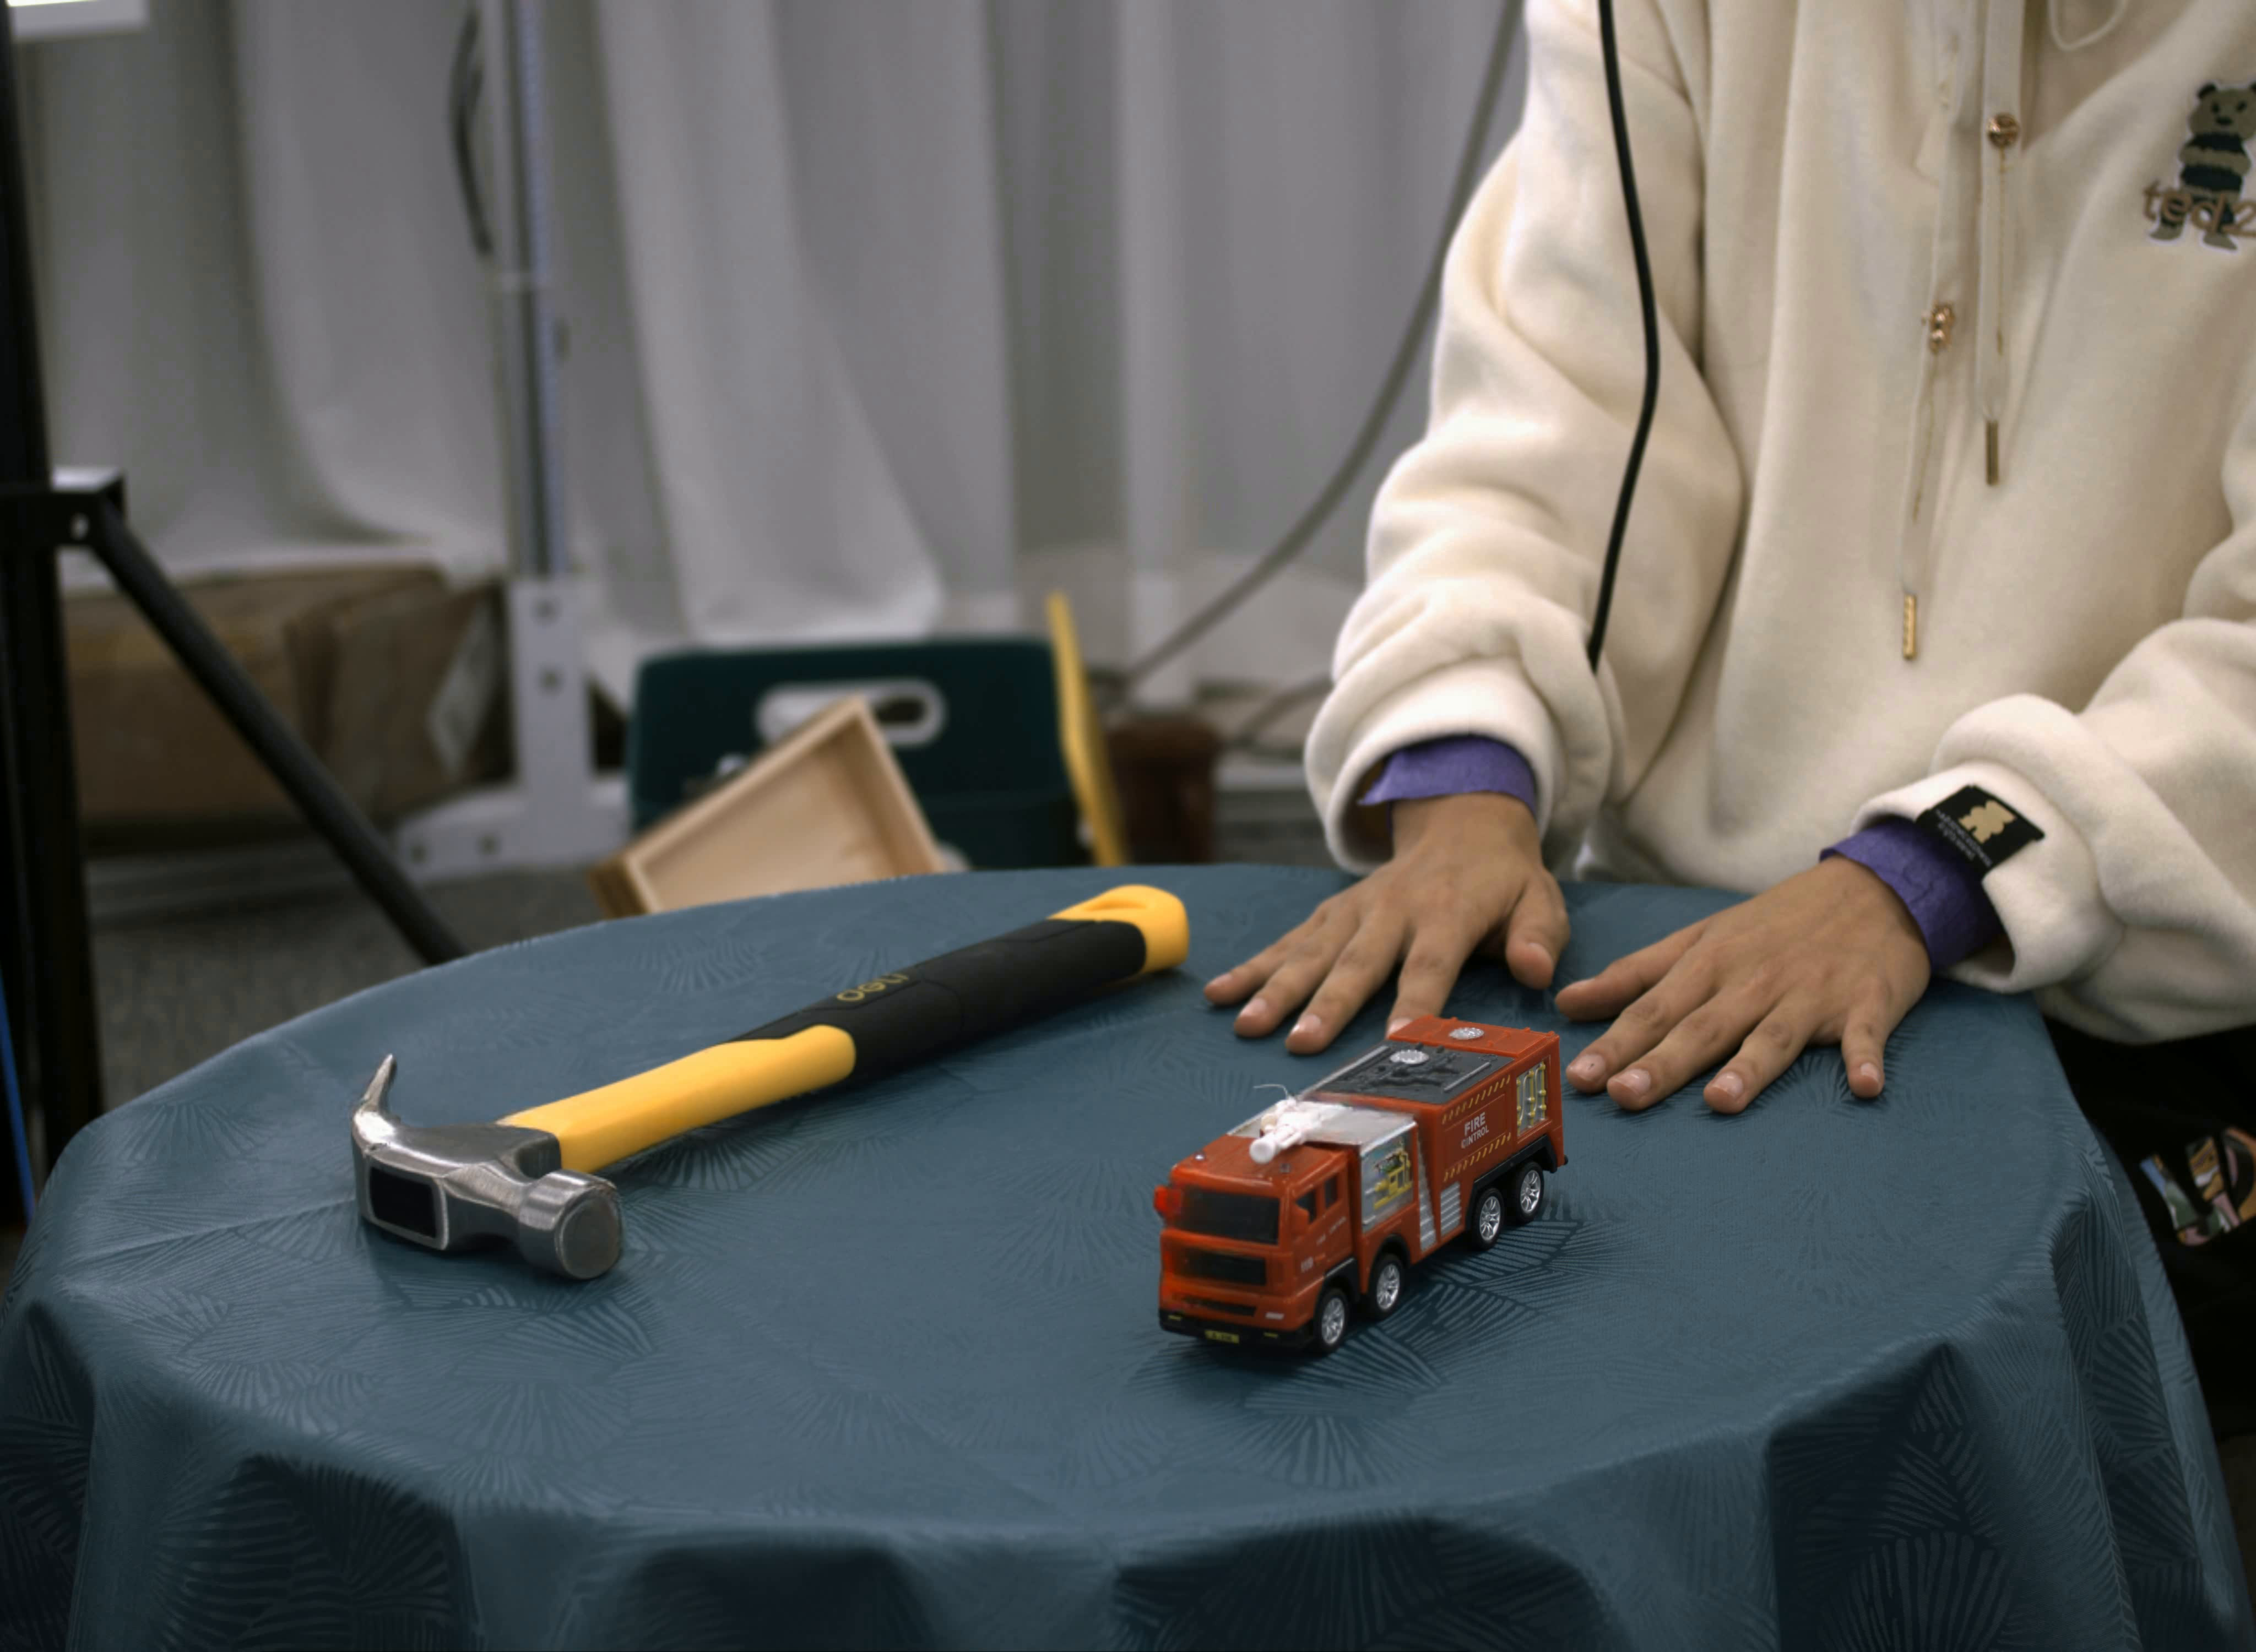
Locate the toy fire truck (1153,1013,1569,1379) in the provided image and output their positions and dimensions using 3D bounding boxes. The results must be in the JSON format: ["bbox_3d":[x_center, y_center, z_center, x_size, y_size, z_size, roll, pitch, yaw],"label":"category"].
[{"bbox_3d":[0.066,0.099,1.470,0.055,0.070,0.165,7,17,30],"label":"toy fire truck"}]

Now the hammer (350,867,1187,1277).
[{"bbox_3d":[-0.100,0.066,1.653,0.134,0.032,0.331,10,21,41],"label":"hammer"}]
